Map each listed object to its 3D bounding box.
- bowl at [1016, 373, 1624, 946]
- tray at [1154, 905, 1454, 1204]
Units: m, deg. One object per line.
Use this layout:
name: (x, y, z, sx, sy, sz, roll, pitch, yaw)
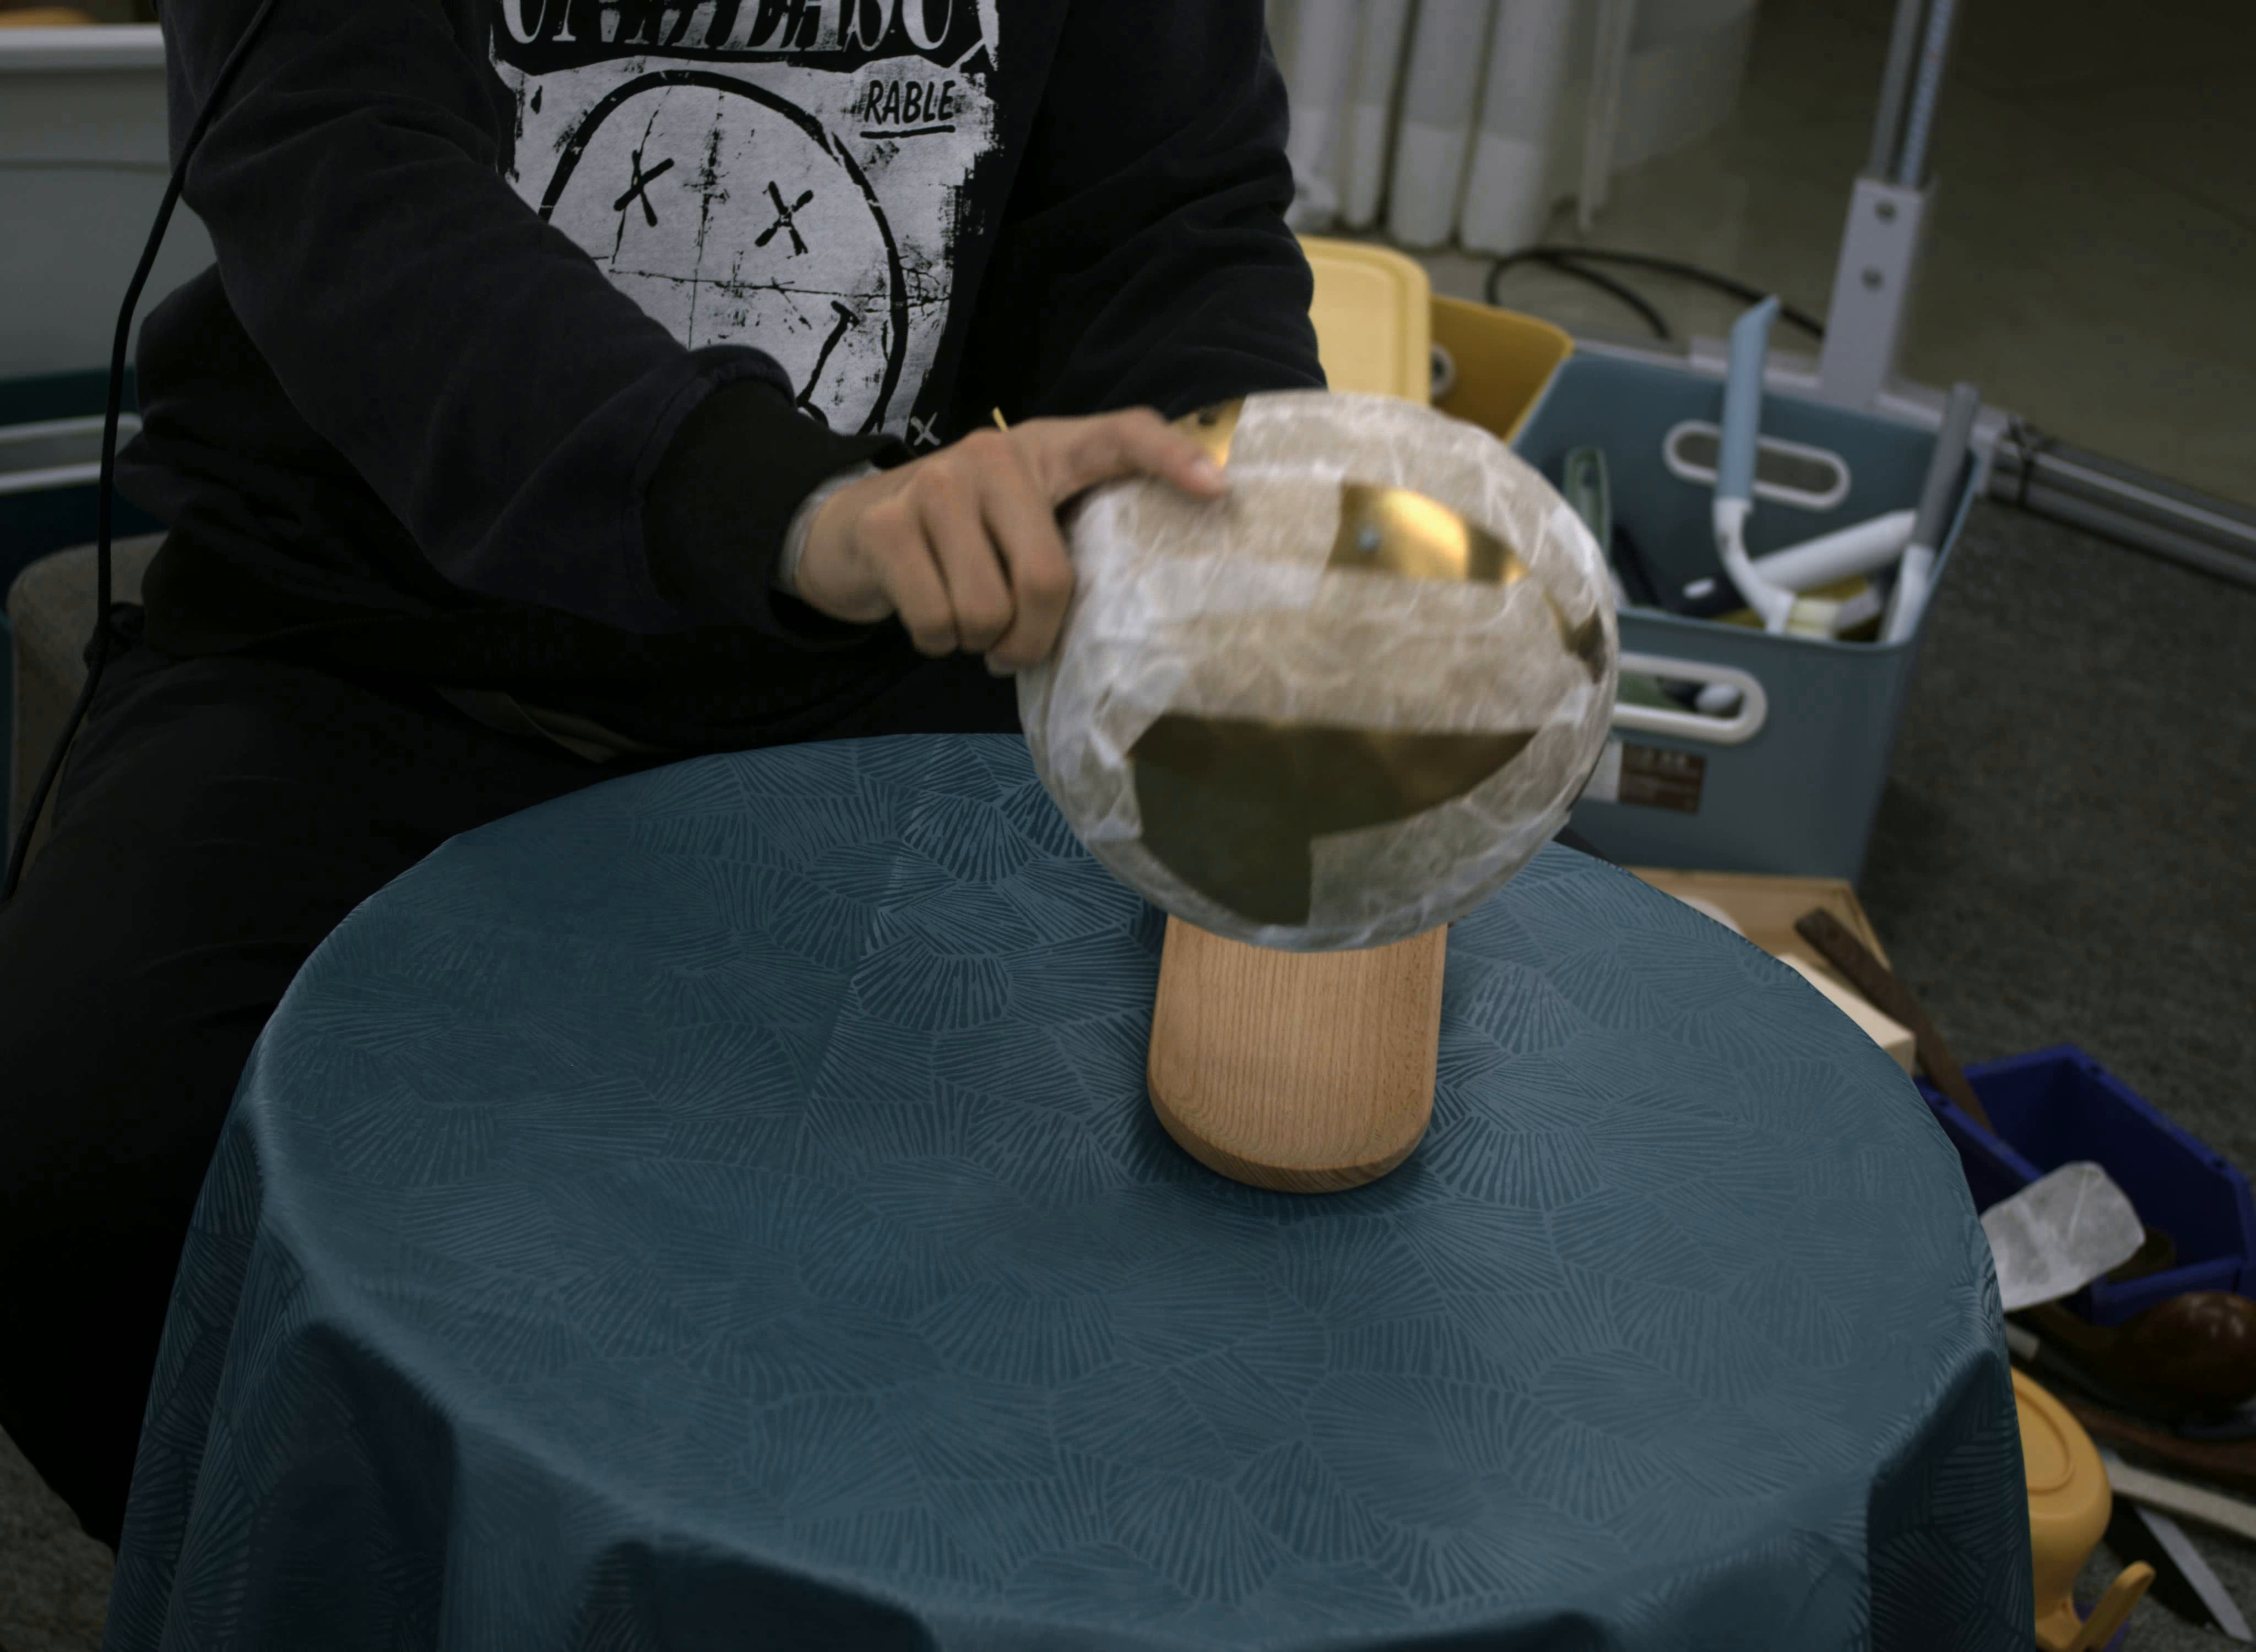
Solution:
bowl: (0.061, -0.034, 1.728, 0.214, 0.214, 0.095, 7, 33, -1)
tray: (0.064, 0.054, 1.892, 0.101, 0.020, 0.233, 6, 39, 1)
